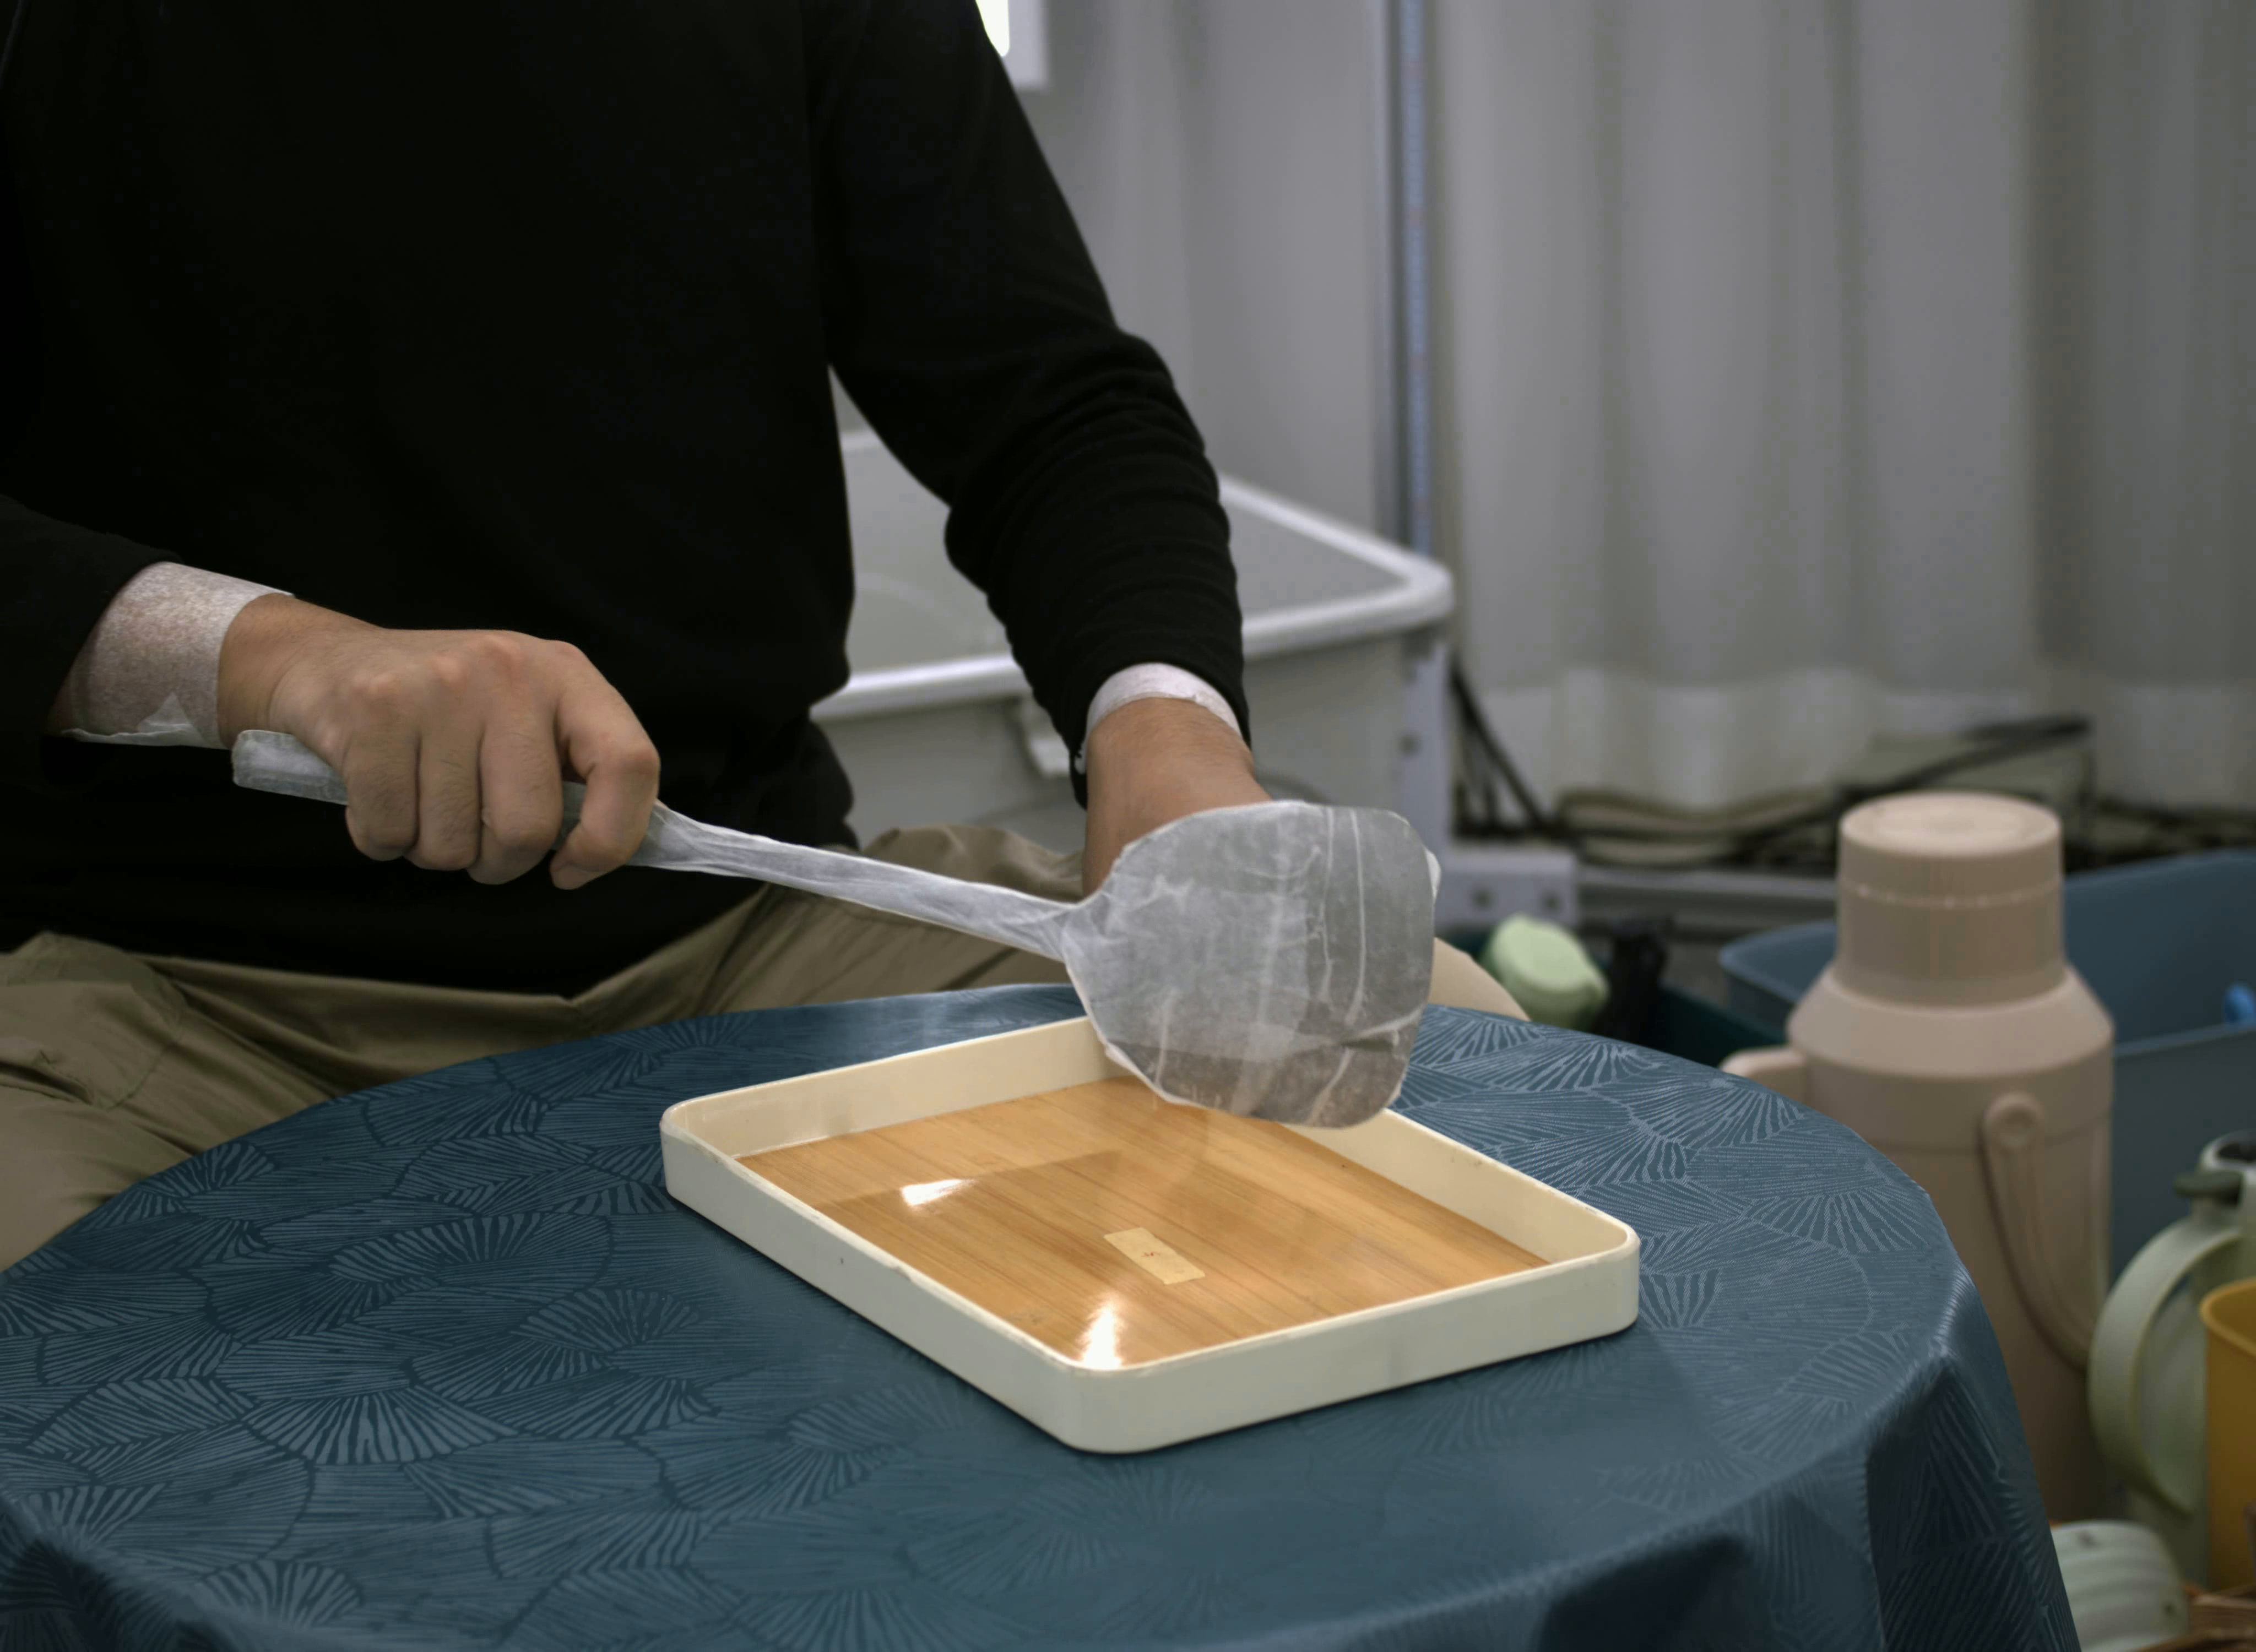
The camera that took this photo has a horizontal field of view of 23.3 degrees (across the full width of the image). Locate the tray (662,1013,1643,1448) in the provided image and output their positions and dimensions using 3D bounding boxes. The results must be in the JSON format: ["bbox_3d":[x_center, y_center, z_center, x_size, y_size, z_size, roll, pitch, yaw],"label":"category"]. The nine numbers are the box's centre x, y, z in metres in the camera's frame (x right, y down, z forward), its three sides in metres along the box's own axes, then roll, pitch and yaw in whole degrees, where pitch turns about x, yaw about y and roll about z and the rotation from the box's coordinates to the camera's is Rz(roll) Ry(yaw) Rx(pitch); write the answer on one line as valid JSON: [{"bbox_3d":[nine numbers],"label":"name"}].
[{"bbox_3d":[0.001,0.117,1.654,0.191,0.027,0.302,-11,16,-27],"label":"tray"}]

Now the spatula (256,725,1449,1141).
[{"bbox_3d":[-0.085,0.012,1.626,0.365,0.098,0.045,13,10,16],"label":"spatula"}]
